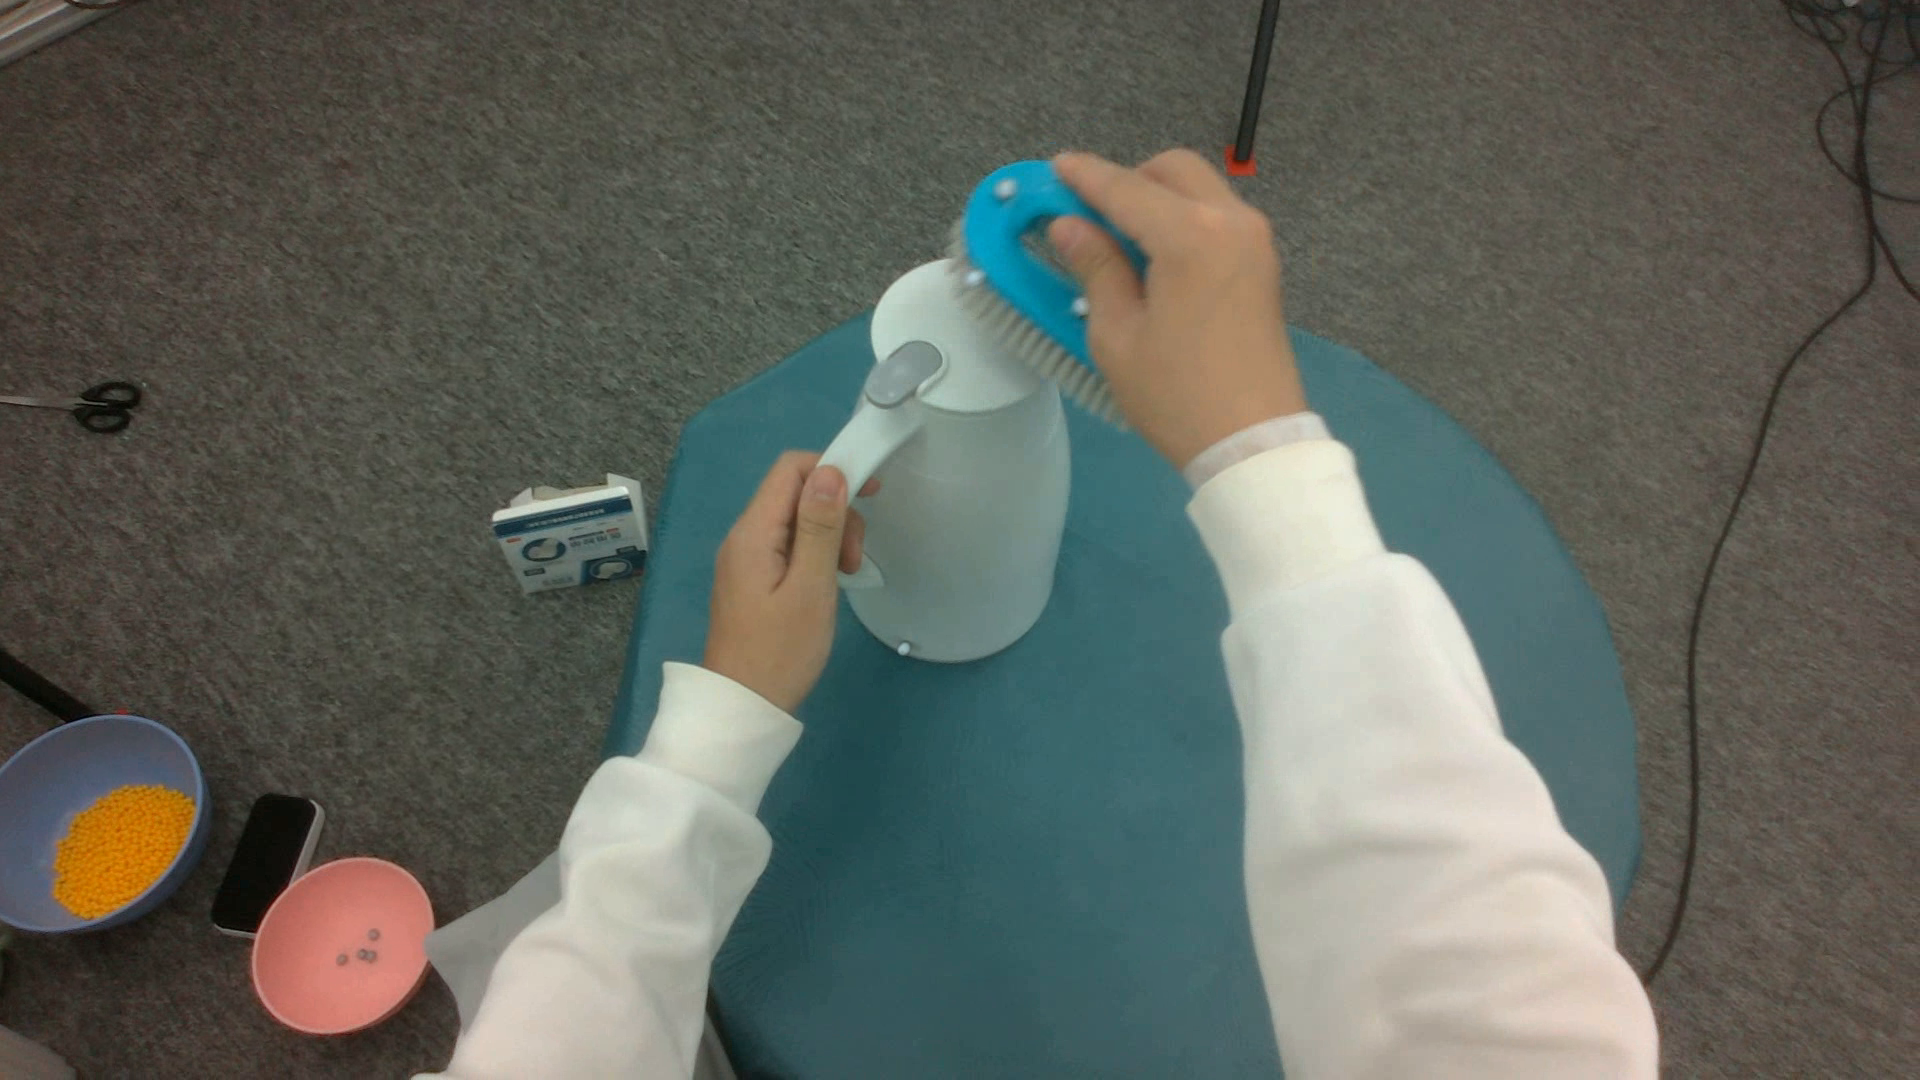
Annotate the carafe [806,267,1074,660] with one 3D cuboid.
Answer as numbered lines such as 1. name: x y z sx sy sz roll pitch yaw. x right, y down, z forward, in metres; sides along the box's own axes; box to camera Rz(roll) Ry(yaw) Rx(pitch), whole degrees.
1. carafe: -0.012 -0.032 0.753 0.132 0.247 0.168 41 68 19

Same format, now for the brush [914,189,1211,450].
1. brush: 0.051 -0.109 0.606 0.142 0.063 0.085 37 57 4
